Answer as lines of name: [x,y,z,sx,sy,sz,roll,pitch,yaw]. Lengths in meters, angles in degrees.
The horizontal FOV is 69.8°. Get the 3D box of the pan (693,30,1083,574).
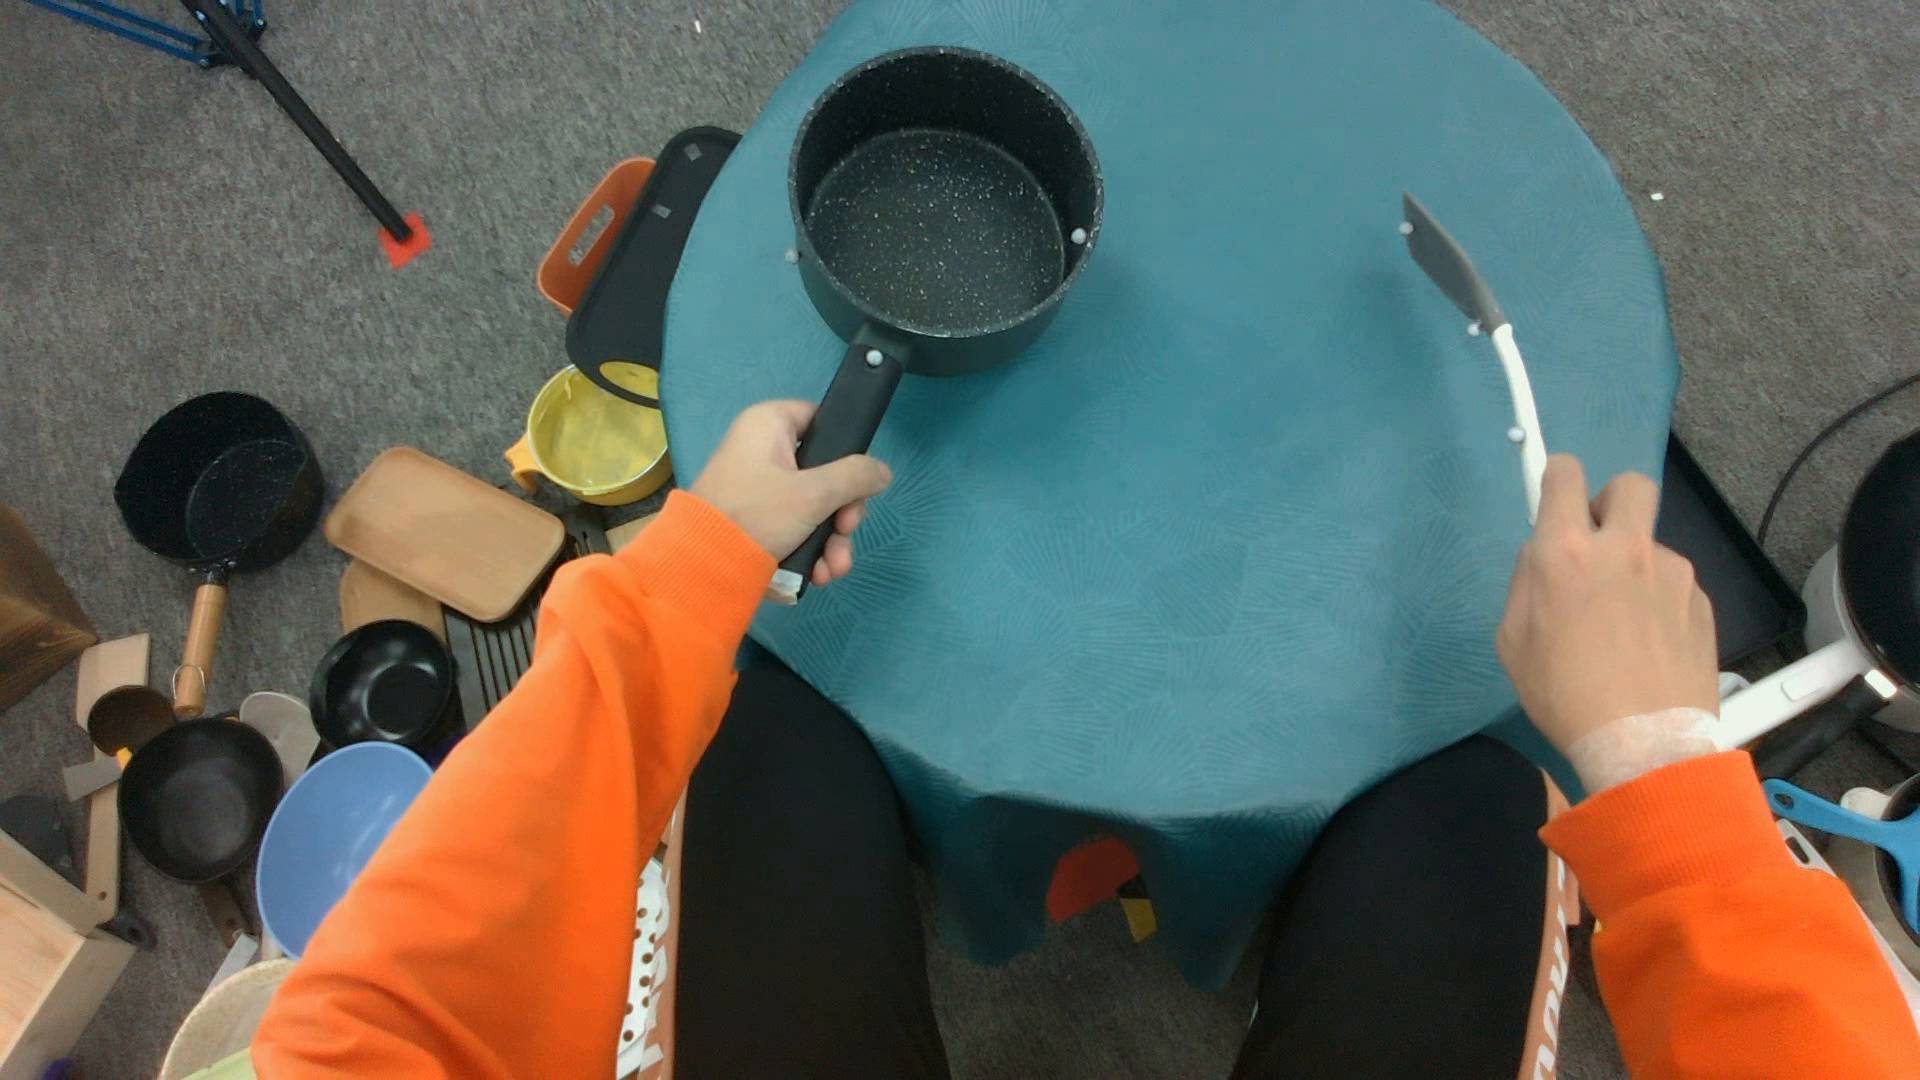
pan: [-0.052,-0.121,0.747,0.172,0.086,0.330,24,72,0]

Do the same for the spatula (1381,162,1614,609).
spatula: [0.269,-0.090,0.714,0.032,0.058,0.289,-17,52,13]
